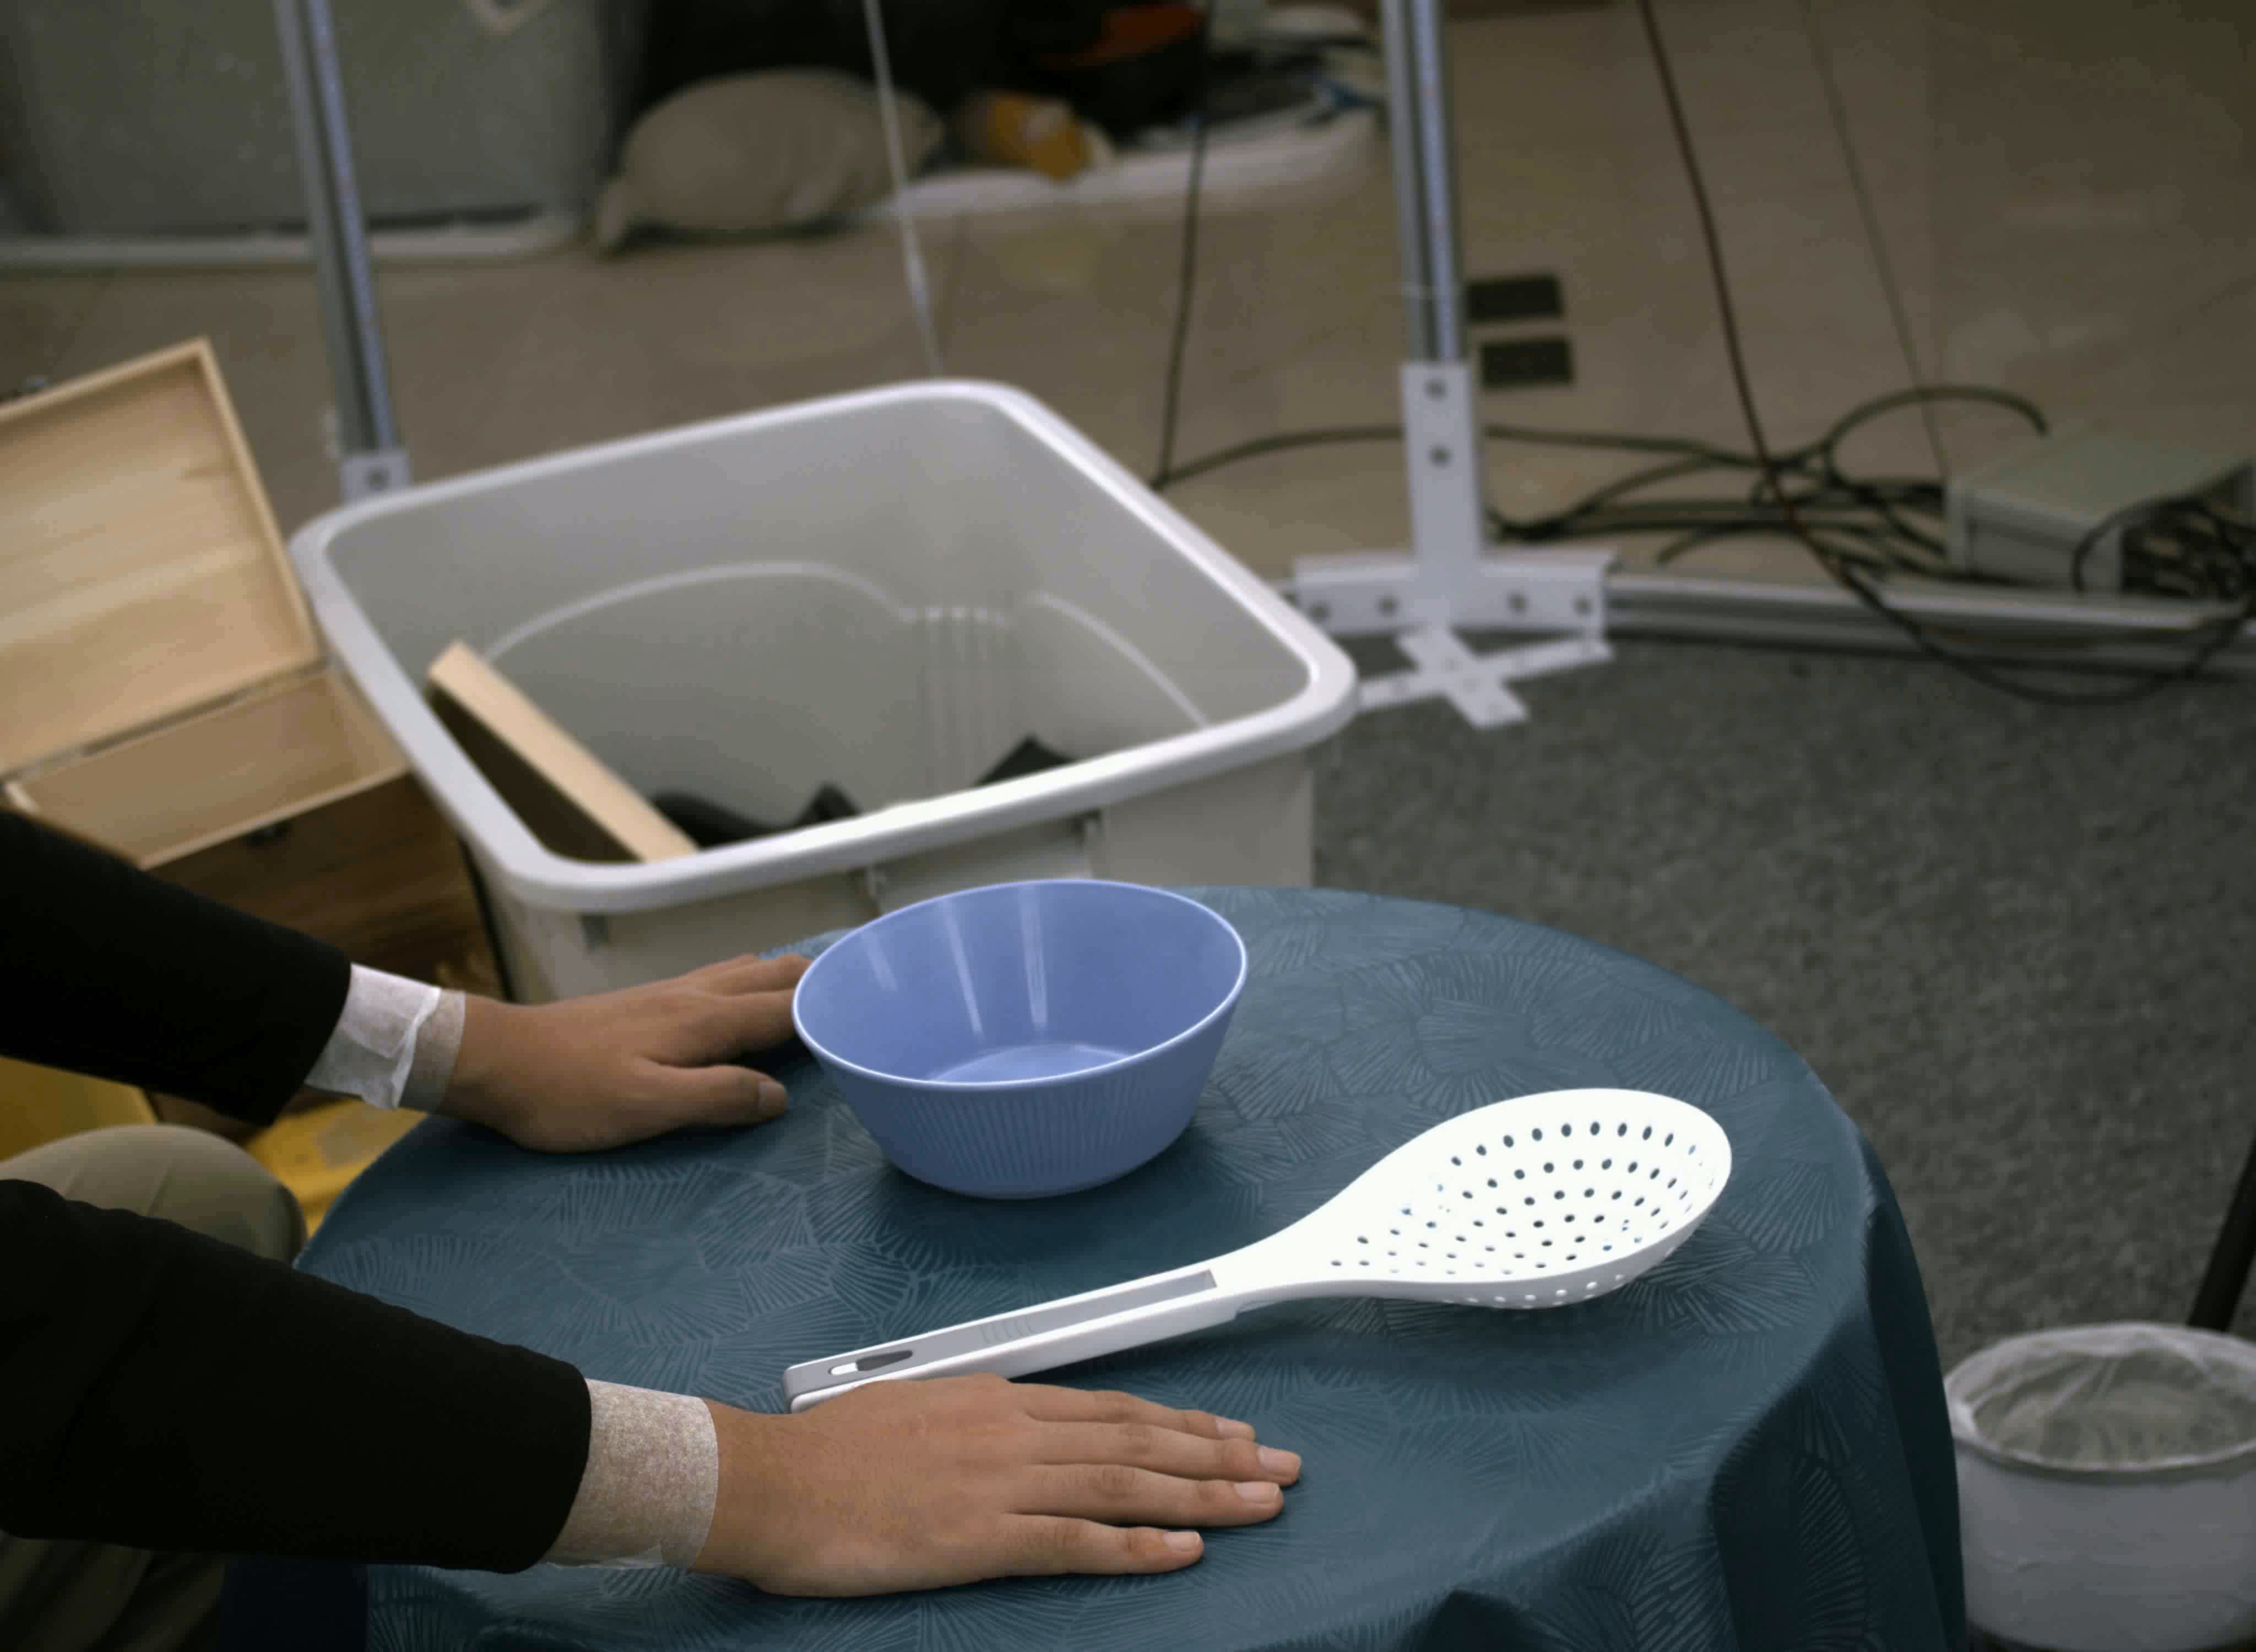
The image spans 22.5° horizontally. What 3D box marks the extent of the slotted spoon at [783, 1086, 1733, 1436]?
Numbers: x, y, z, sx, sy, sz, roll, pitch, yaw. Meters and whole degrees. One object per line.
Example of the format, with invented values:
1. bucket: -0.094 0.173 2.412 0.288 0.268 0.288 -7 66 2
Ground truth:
1. slotted spoon: 0.047 0.162 2.032 0.349 0.046 0.134 -11 25 -7

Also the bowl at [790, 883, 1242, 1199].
1. bowl: -0.040 0.088 2.183 0.176 0.071 0.173 -6 25 3
